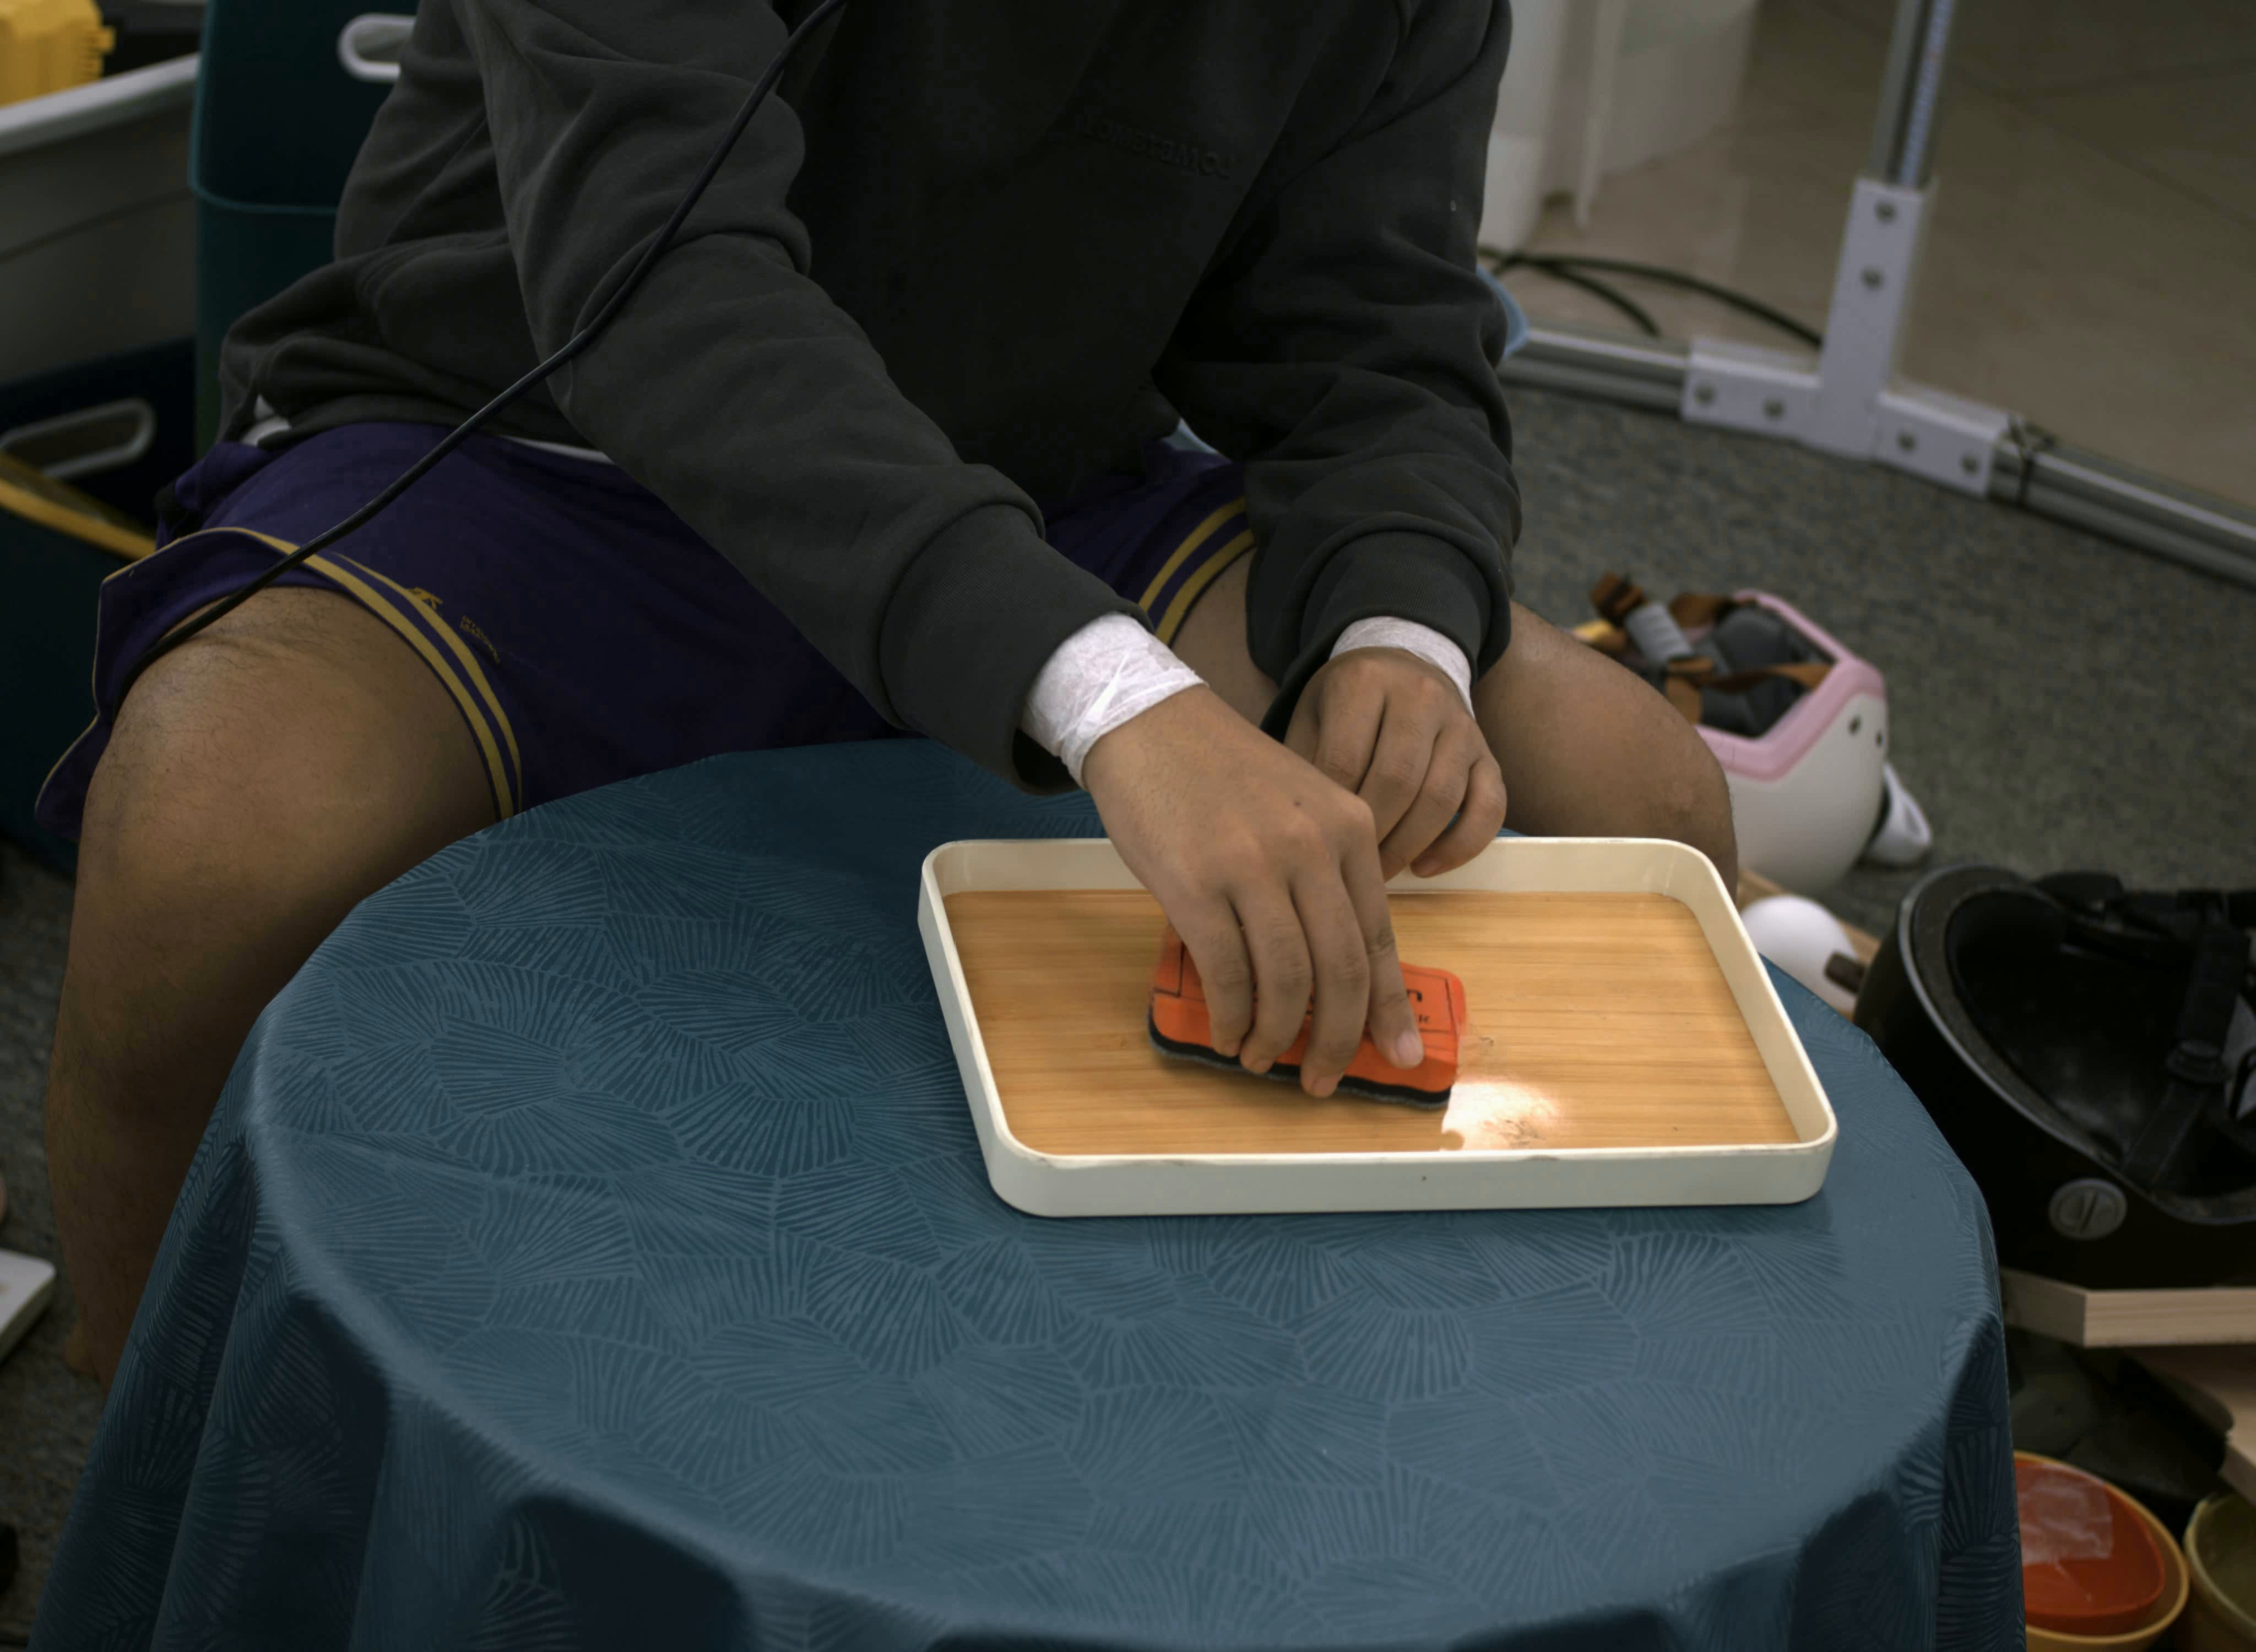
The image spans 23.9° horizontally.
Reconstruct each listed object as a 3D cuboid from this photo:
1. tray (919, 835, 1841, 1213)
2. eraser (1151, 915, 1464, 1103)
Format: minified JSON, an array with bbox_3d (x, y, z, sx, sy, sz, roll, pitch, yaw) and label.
[{"bbox_3d":[0.085,0.068,1.878,0.298,0.027,0.193,0,34,-13],"label":"tray"},{"bbox_3d":[0.063,0.064,1.863,0.108,0.023,0.059,11,33,-2],"label":"eraser"}]
